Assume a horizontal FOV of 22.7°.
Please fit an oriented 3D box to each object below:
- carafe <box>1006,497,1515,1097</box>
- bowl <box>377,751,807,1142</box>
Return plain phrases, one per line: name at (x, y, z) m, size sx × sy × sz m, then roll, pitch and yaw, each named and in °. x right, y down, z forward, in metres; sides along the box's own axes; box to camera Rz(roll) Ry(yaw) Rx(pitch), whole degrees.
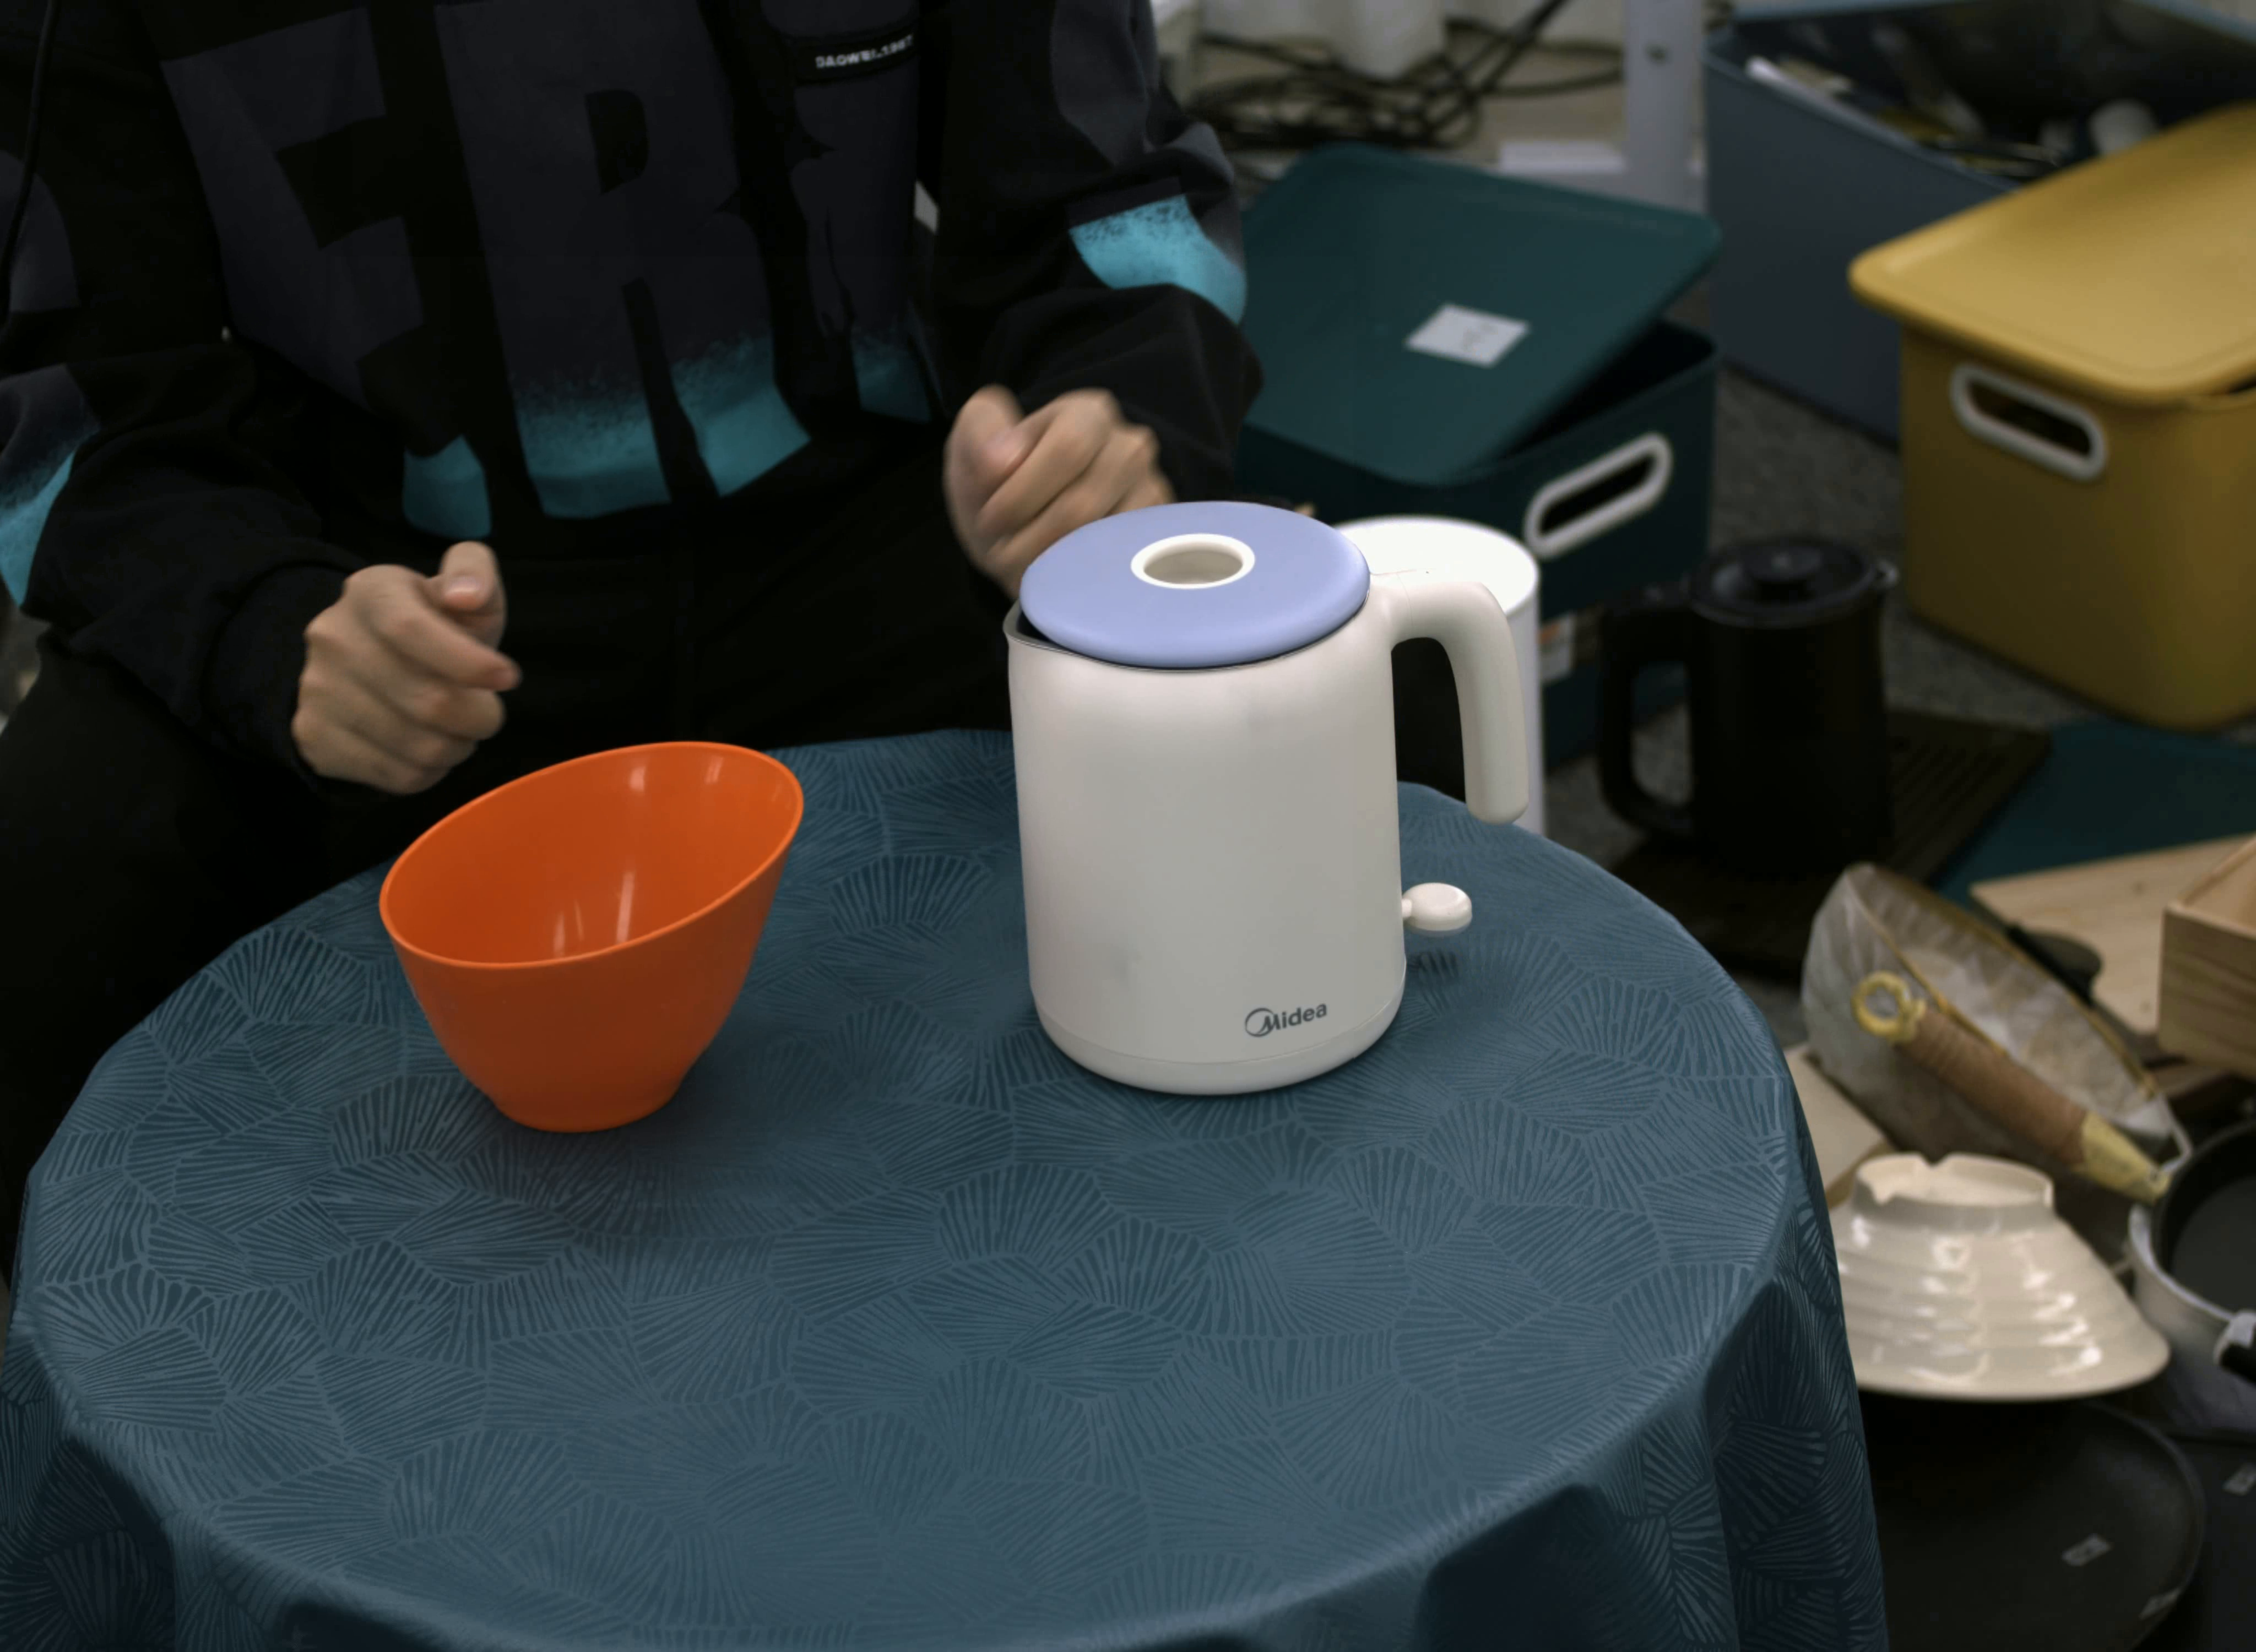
carafe at (0.048, -0.015, 1.937) m, size 0.191 × 0.180 × 0.133 m, roll -11°, pitch 29°, yaw -21°
bowl at (-0.179, 0.047, 1.914) m, size 0.147 × 0.103 × 0.150 m, roll -2°, pitch 27°, yaw 1°
